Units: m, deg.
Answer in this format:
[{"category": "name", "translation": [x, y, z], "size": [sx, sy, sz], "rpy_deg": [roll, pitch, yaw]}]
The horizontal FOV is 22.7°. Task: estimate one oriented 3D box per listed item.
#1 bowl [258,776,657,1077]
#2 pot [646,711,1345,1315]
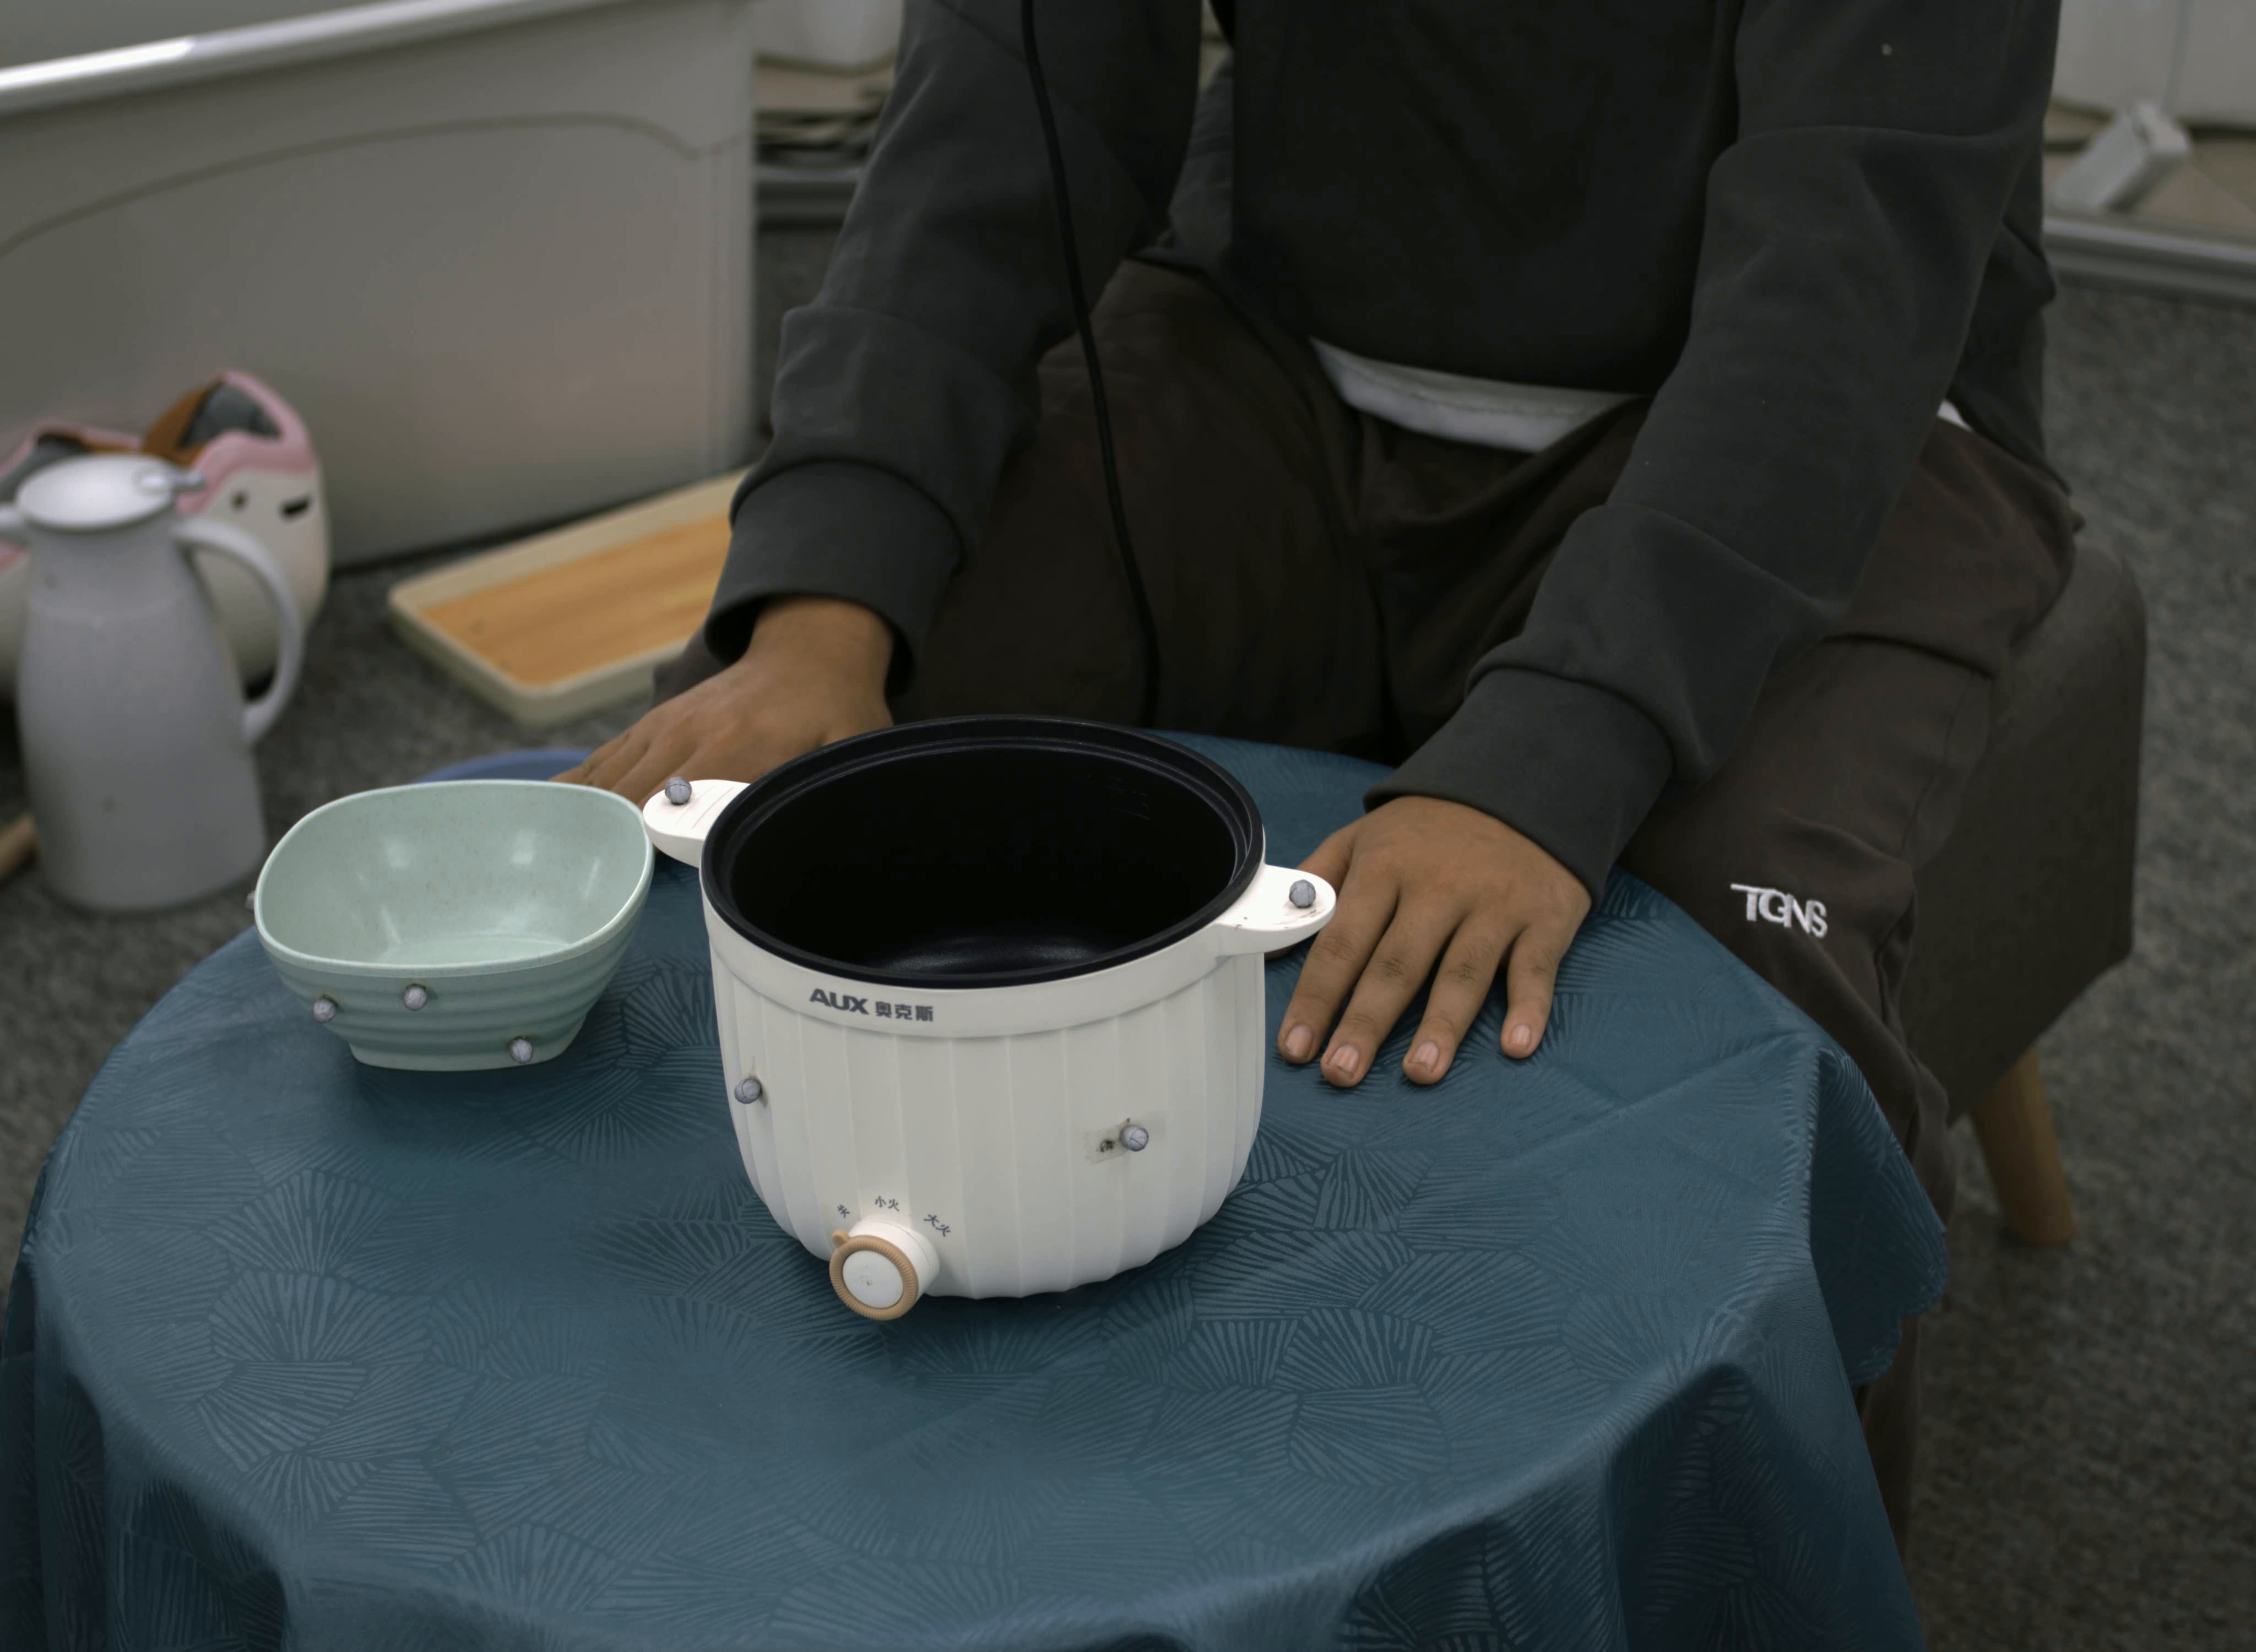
[{"category": "bowl", "translation": [-0.233, 0.042, 1.979], "size": [0.151, 0.058, 0.154], "rpy_deg": [-2, 29, 2]}, {"category": "pot", "translation": [-0.043, 0.064, 1.828], "size": [0.238, 0.141, 0.193], "rpy_deg": [6, 25, 20]}]
